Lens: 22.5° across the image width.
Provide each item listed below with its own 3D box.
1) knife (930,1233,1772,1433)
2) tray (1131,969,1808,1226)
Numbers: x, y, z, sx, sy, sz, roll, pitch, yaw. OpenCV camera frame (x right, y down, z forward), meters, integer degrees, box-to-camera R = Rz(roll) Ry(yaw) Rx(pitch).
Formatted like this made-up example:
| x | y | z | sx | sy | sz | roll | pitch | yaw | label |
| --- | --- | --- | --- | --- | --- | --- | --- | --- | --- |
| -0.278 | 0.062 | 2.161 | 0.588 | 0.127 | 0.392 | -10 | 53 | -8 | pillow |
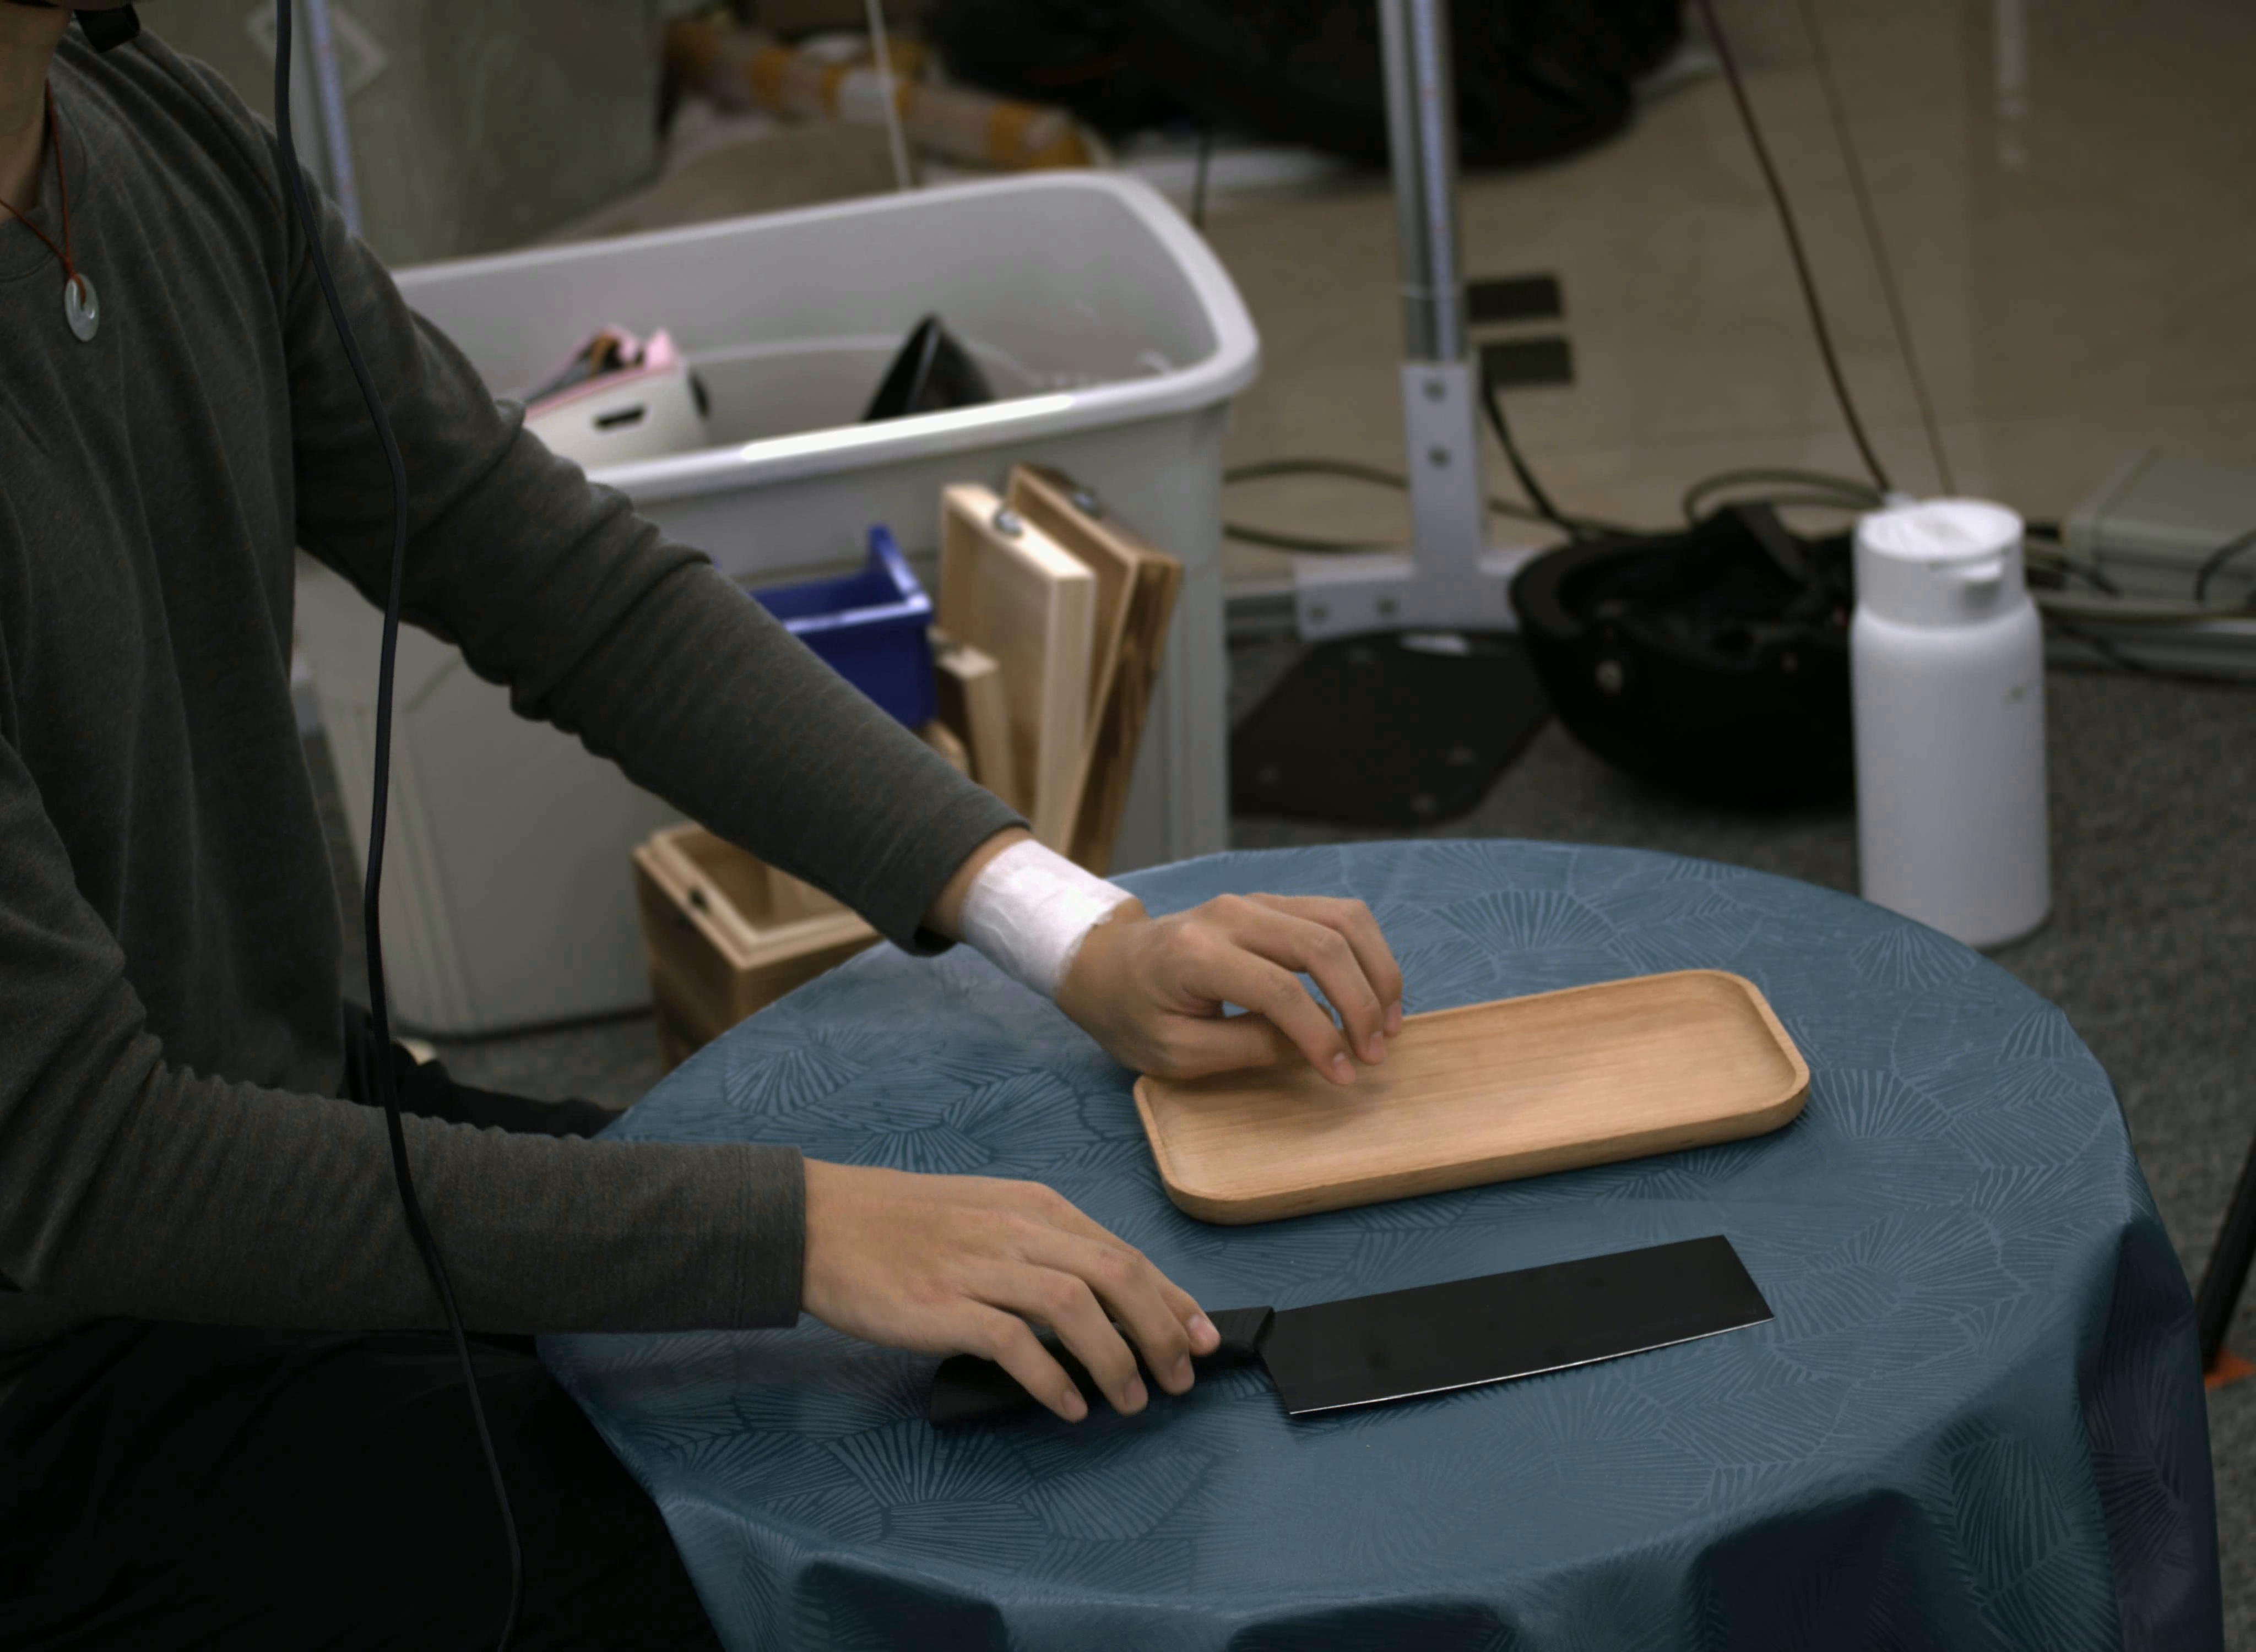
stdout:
| x | y | z | sx | sy | sz | roll | pitch | yaw | label |
| --- | --- | --- | --- | --- | --- | --- | --- | --- | --- |
| 0.078 | 0.184 | 2.019 | 0.302 | 0.021 | 0.079 | -7 | 27 | -6 | knife |
| 0.130 | 0.104 | 2.177 | 0.250 | 0.023 | 0.129 | -10 | 22 | -4 | tray |
